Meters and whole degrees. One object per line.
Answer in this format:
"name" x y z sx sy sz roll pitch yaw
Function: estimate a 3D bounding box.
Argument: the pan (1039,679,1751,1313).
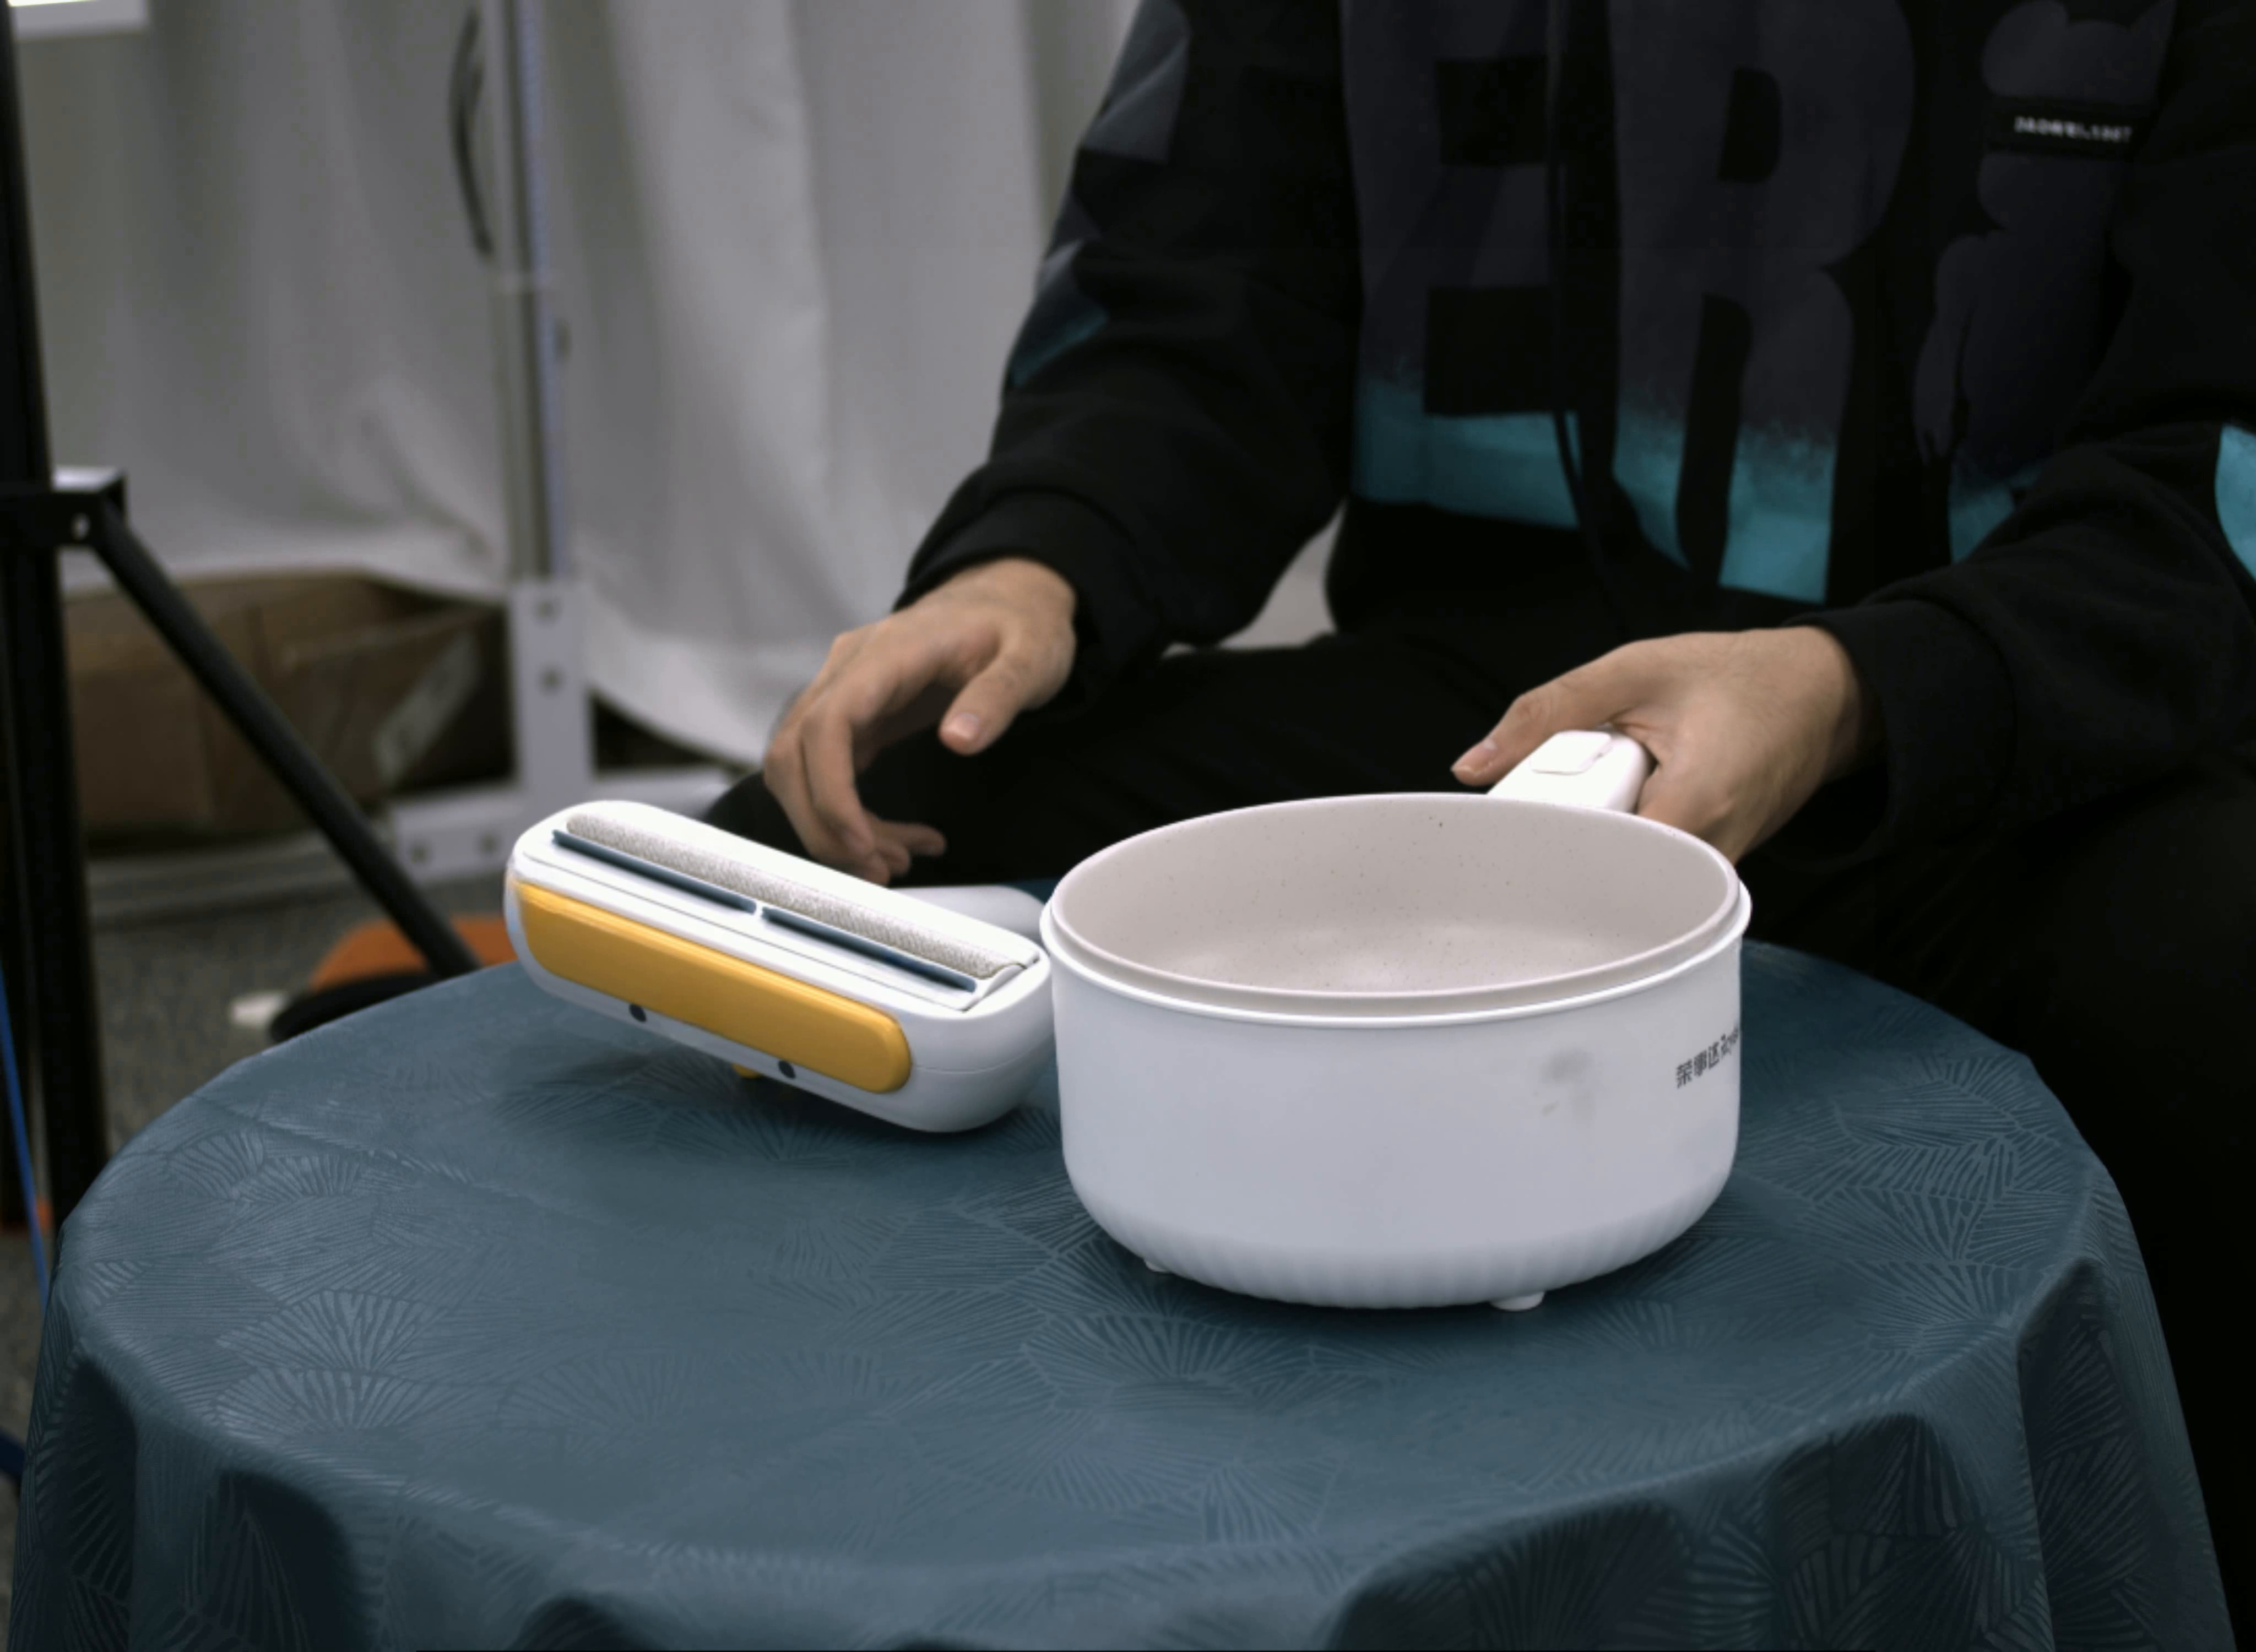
"pan" 0.105 0.046 1.573 0.204 0.102 0.350 4 17 23

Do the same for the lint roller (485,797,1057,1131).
"lint roller" -0.081 0.035 1.705 0.197 0.074 0.188 15 21 34
